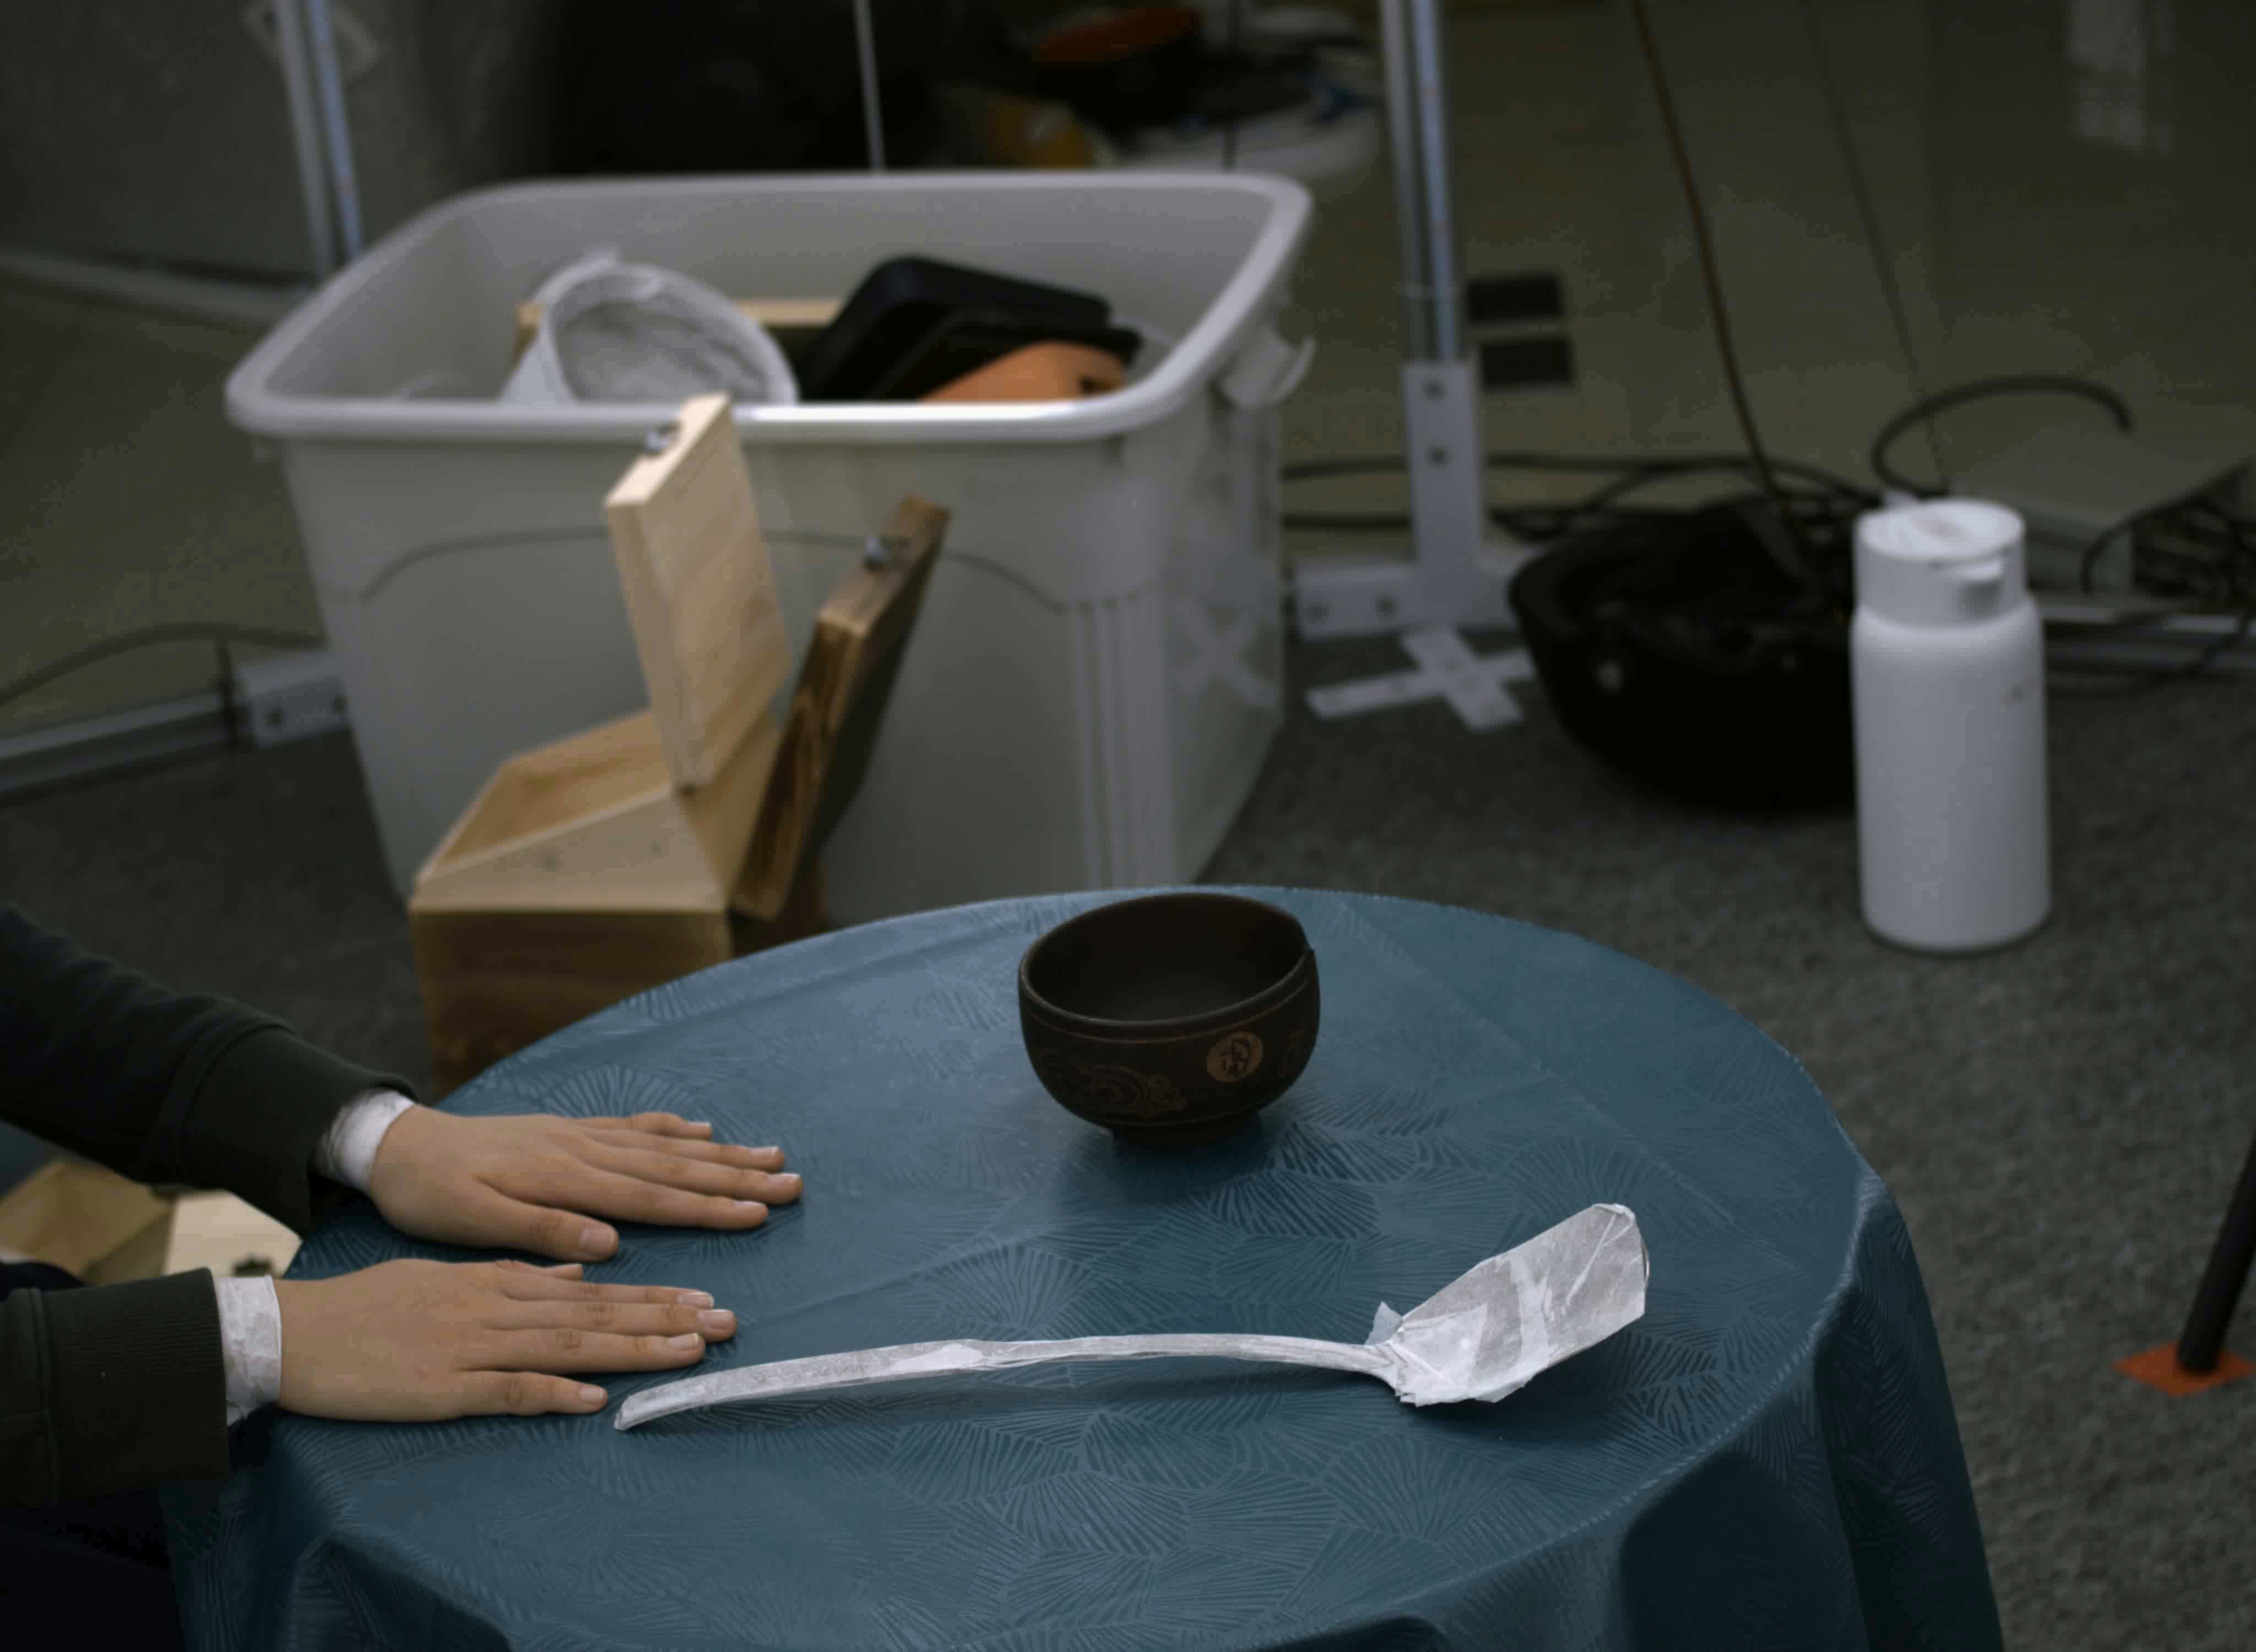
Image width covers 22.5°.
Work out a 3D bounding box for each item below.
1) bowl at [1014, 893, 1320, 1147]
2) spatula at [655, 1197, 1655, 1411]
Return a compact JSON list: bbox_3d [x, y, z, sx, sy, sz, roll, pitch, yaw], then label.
[{"bbox_3d":[0.017,0.081,2.188,0.118,0.071,0.116,-6,24,3],"label":"bowl"},{"bbox_3d":[0.006,0.180,2.017,0.364,0.045,0.097,-4,27,6],"label":"spatula"}]
